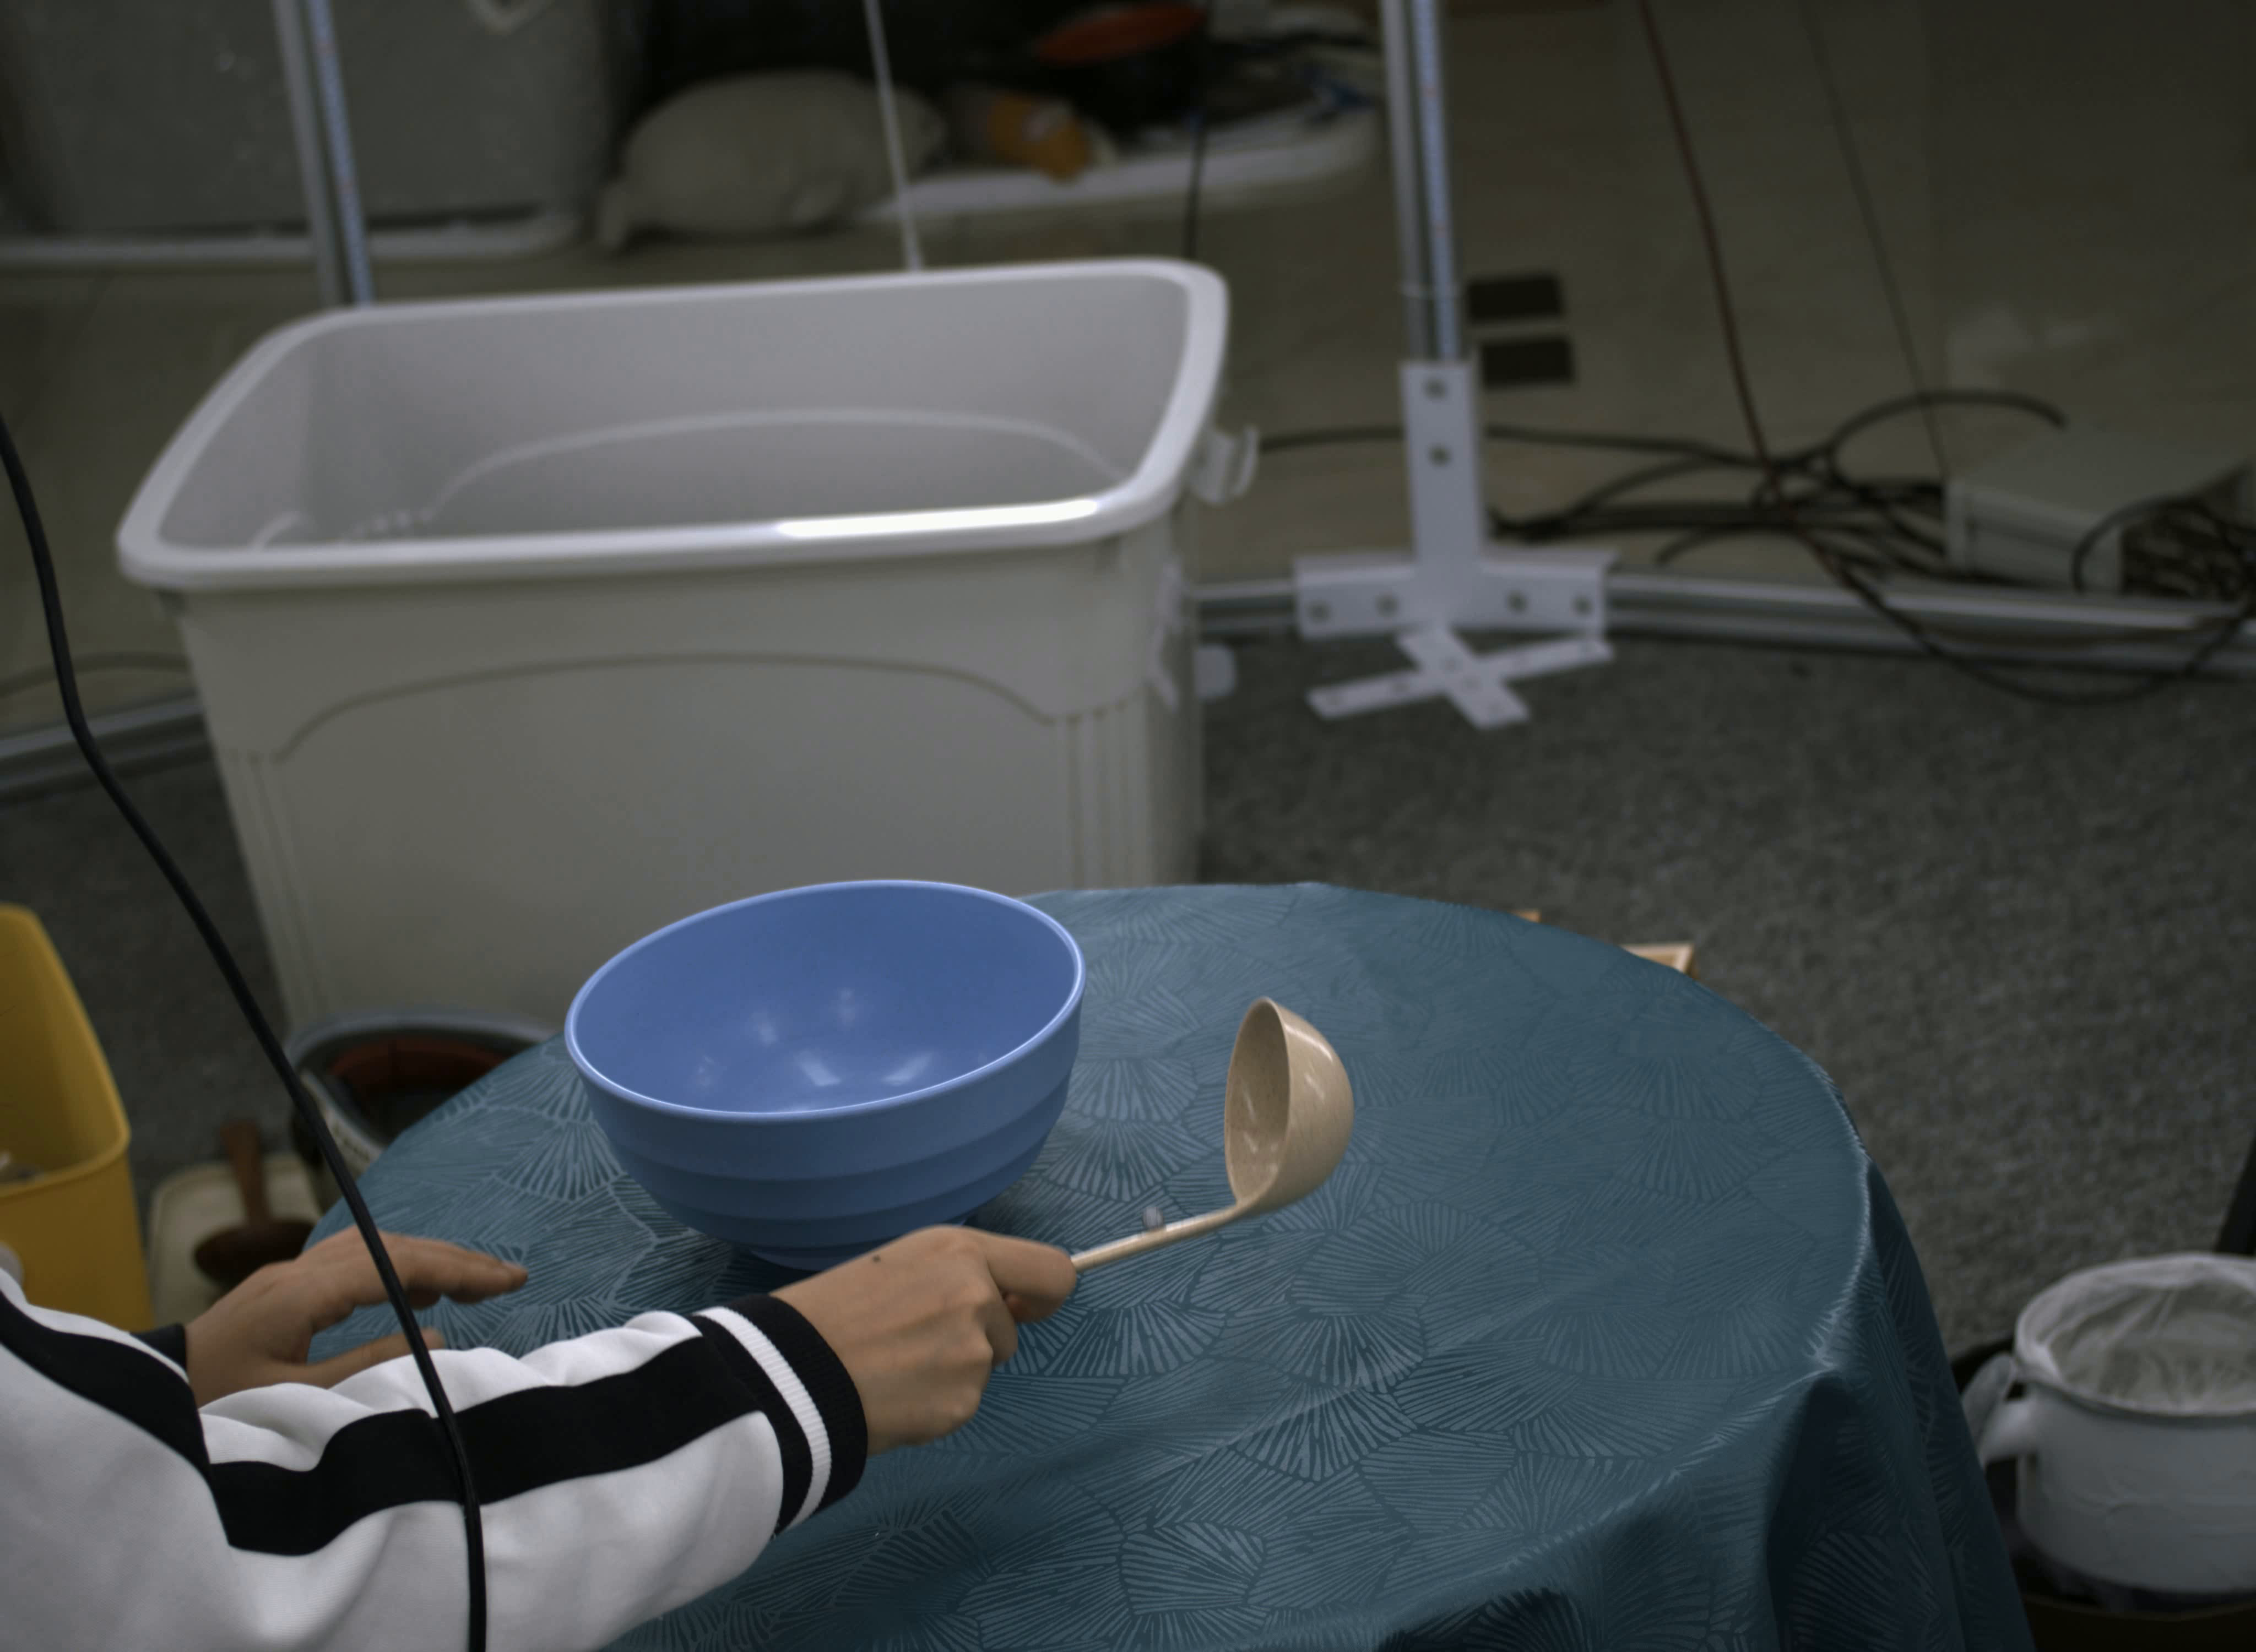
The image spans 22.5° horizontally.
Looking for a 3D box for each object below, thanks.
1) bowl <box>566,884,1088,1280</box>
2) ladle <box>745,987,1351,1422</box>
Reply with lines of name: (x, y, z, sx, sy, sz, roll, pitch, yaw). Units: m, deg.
bowl: (-0.108, 0.108, 2.137, 0.196, 0.097, 0.193, -5, 27, 2)
ladle: (-0.037, 0.127, 1.959, 0.253, 0.072, 0.073, -21, -13, -26)
